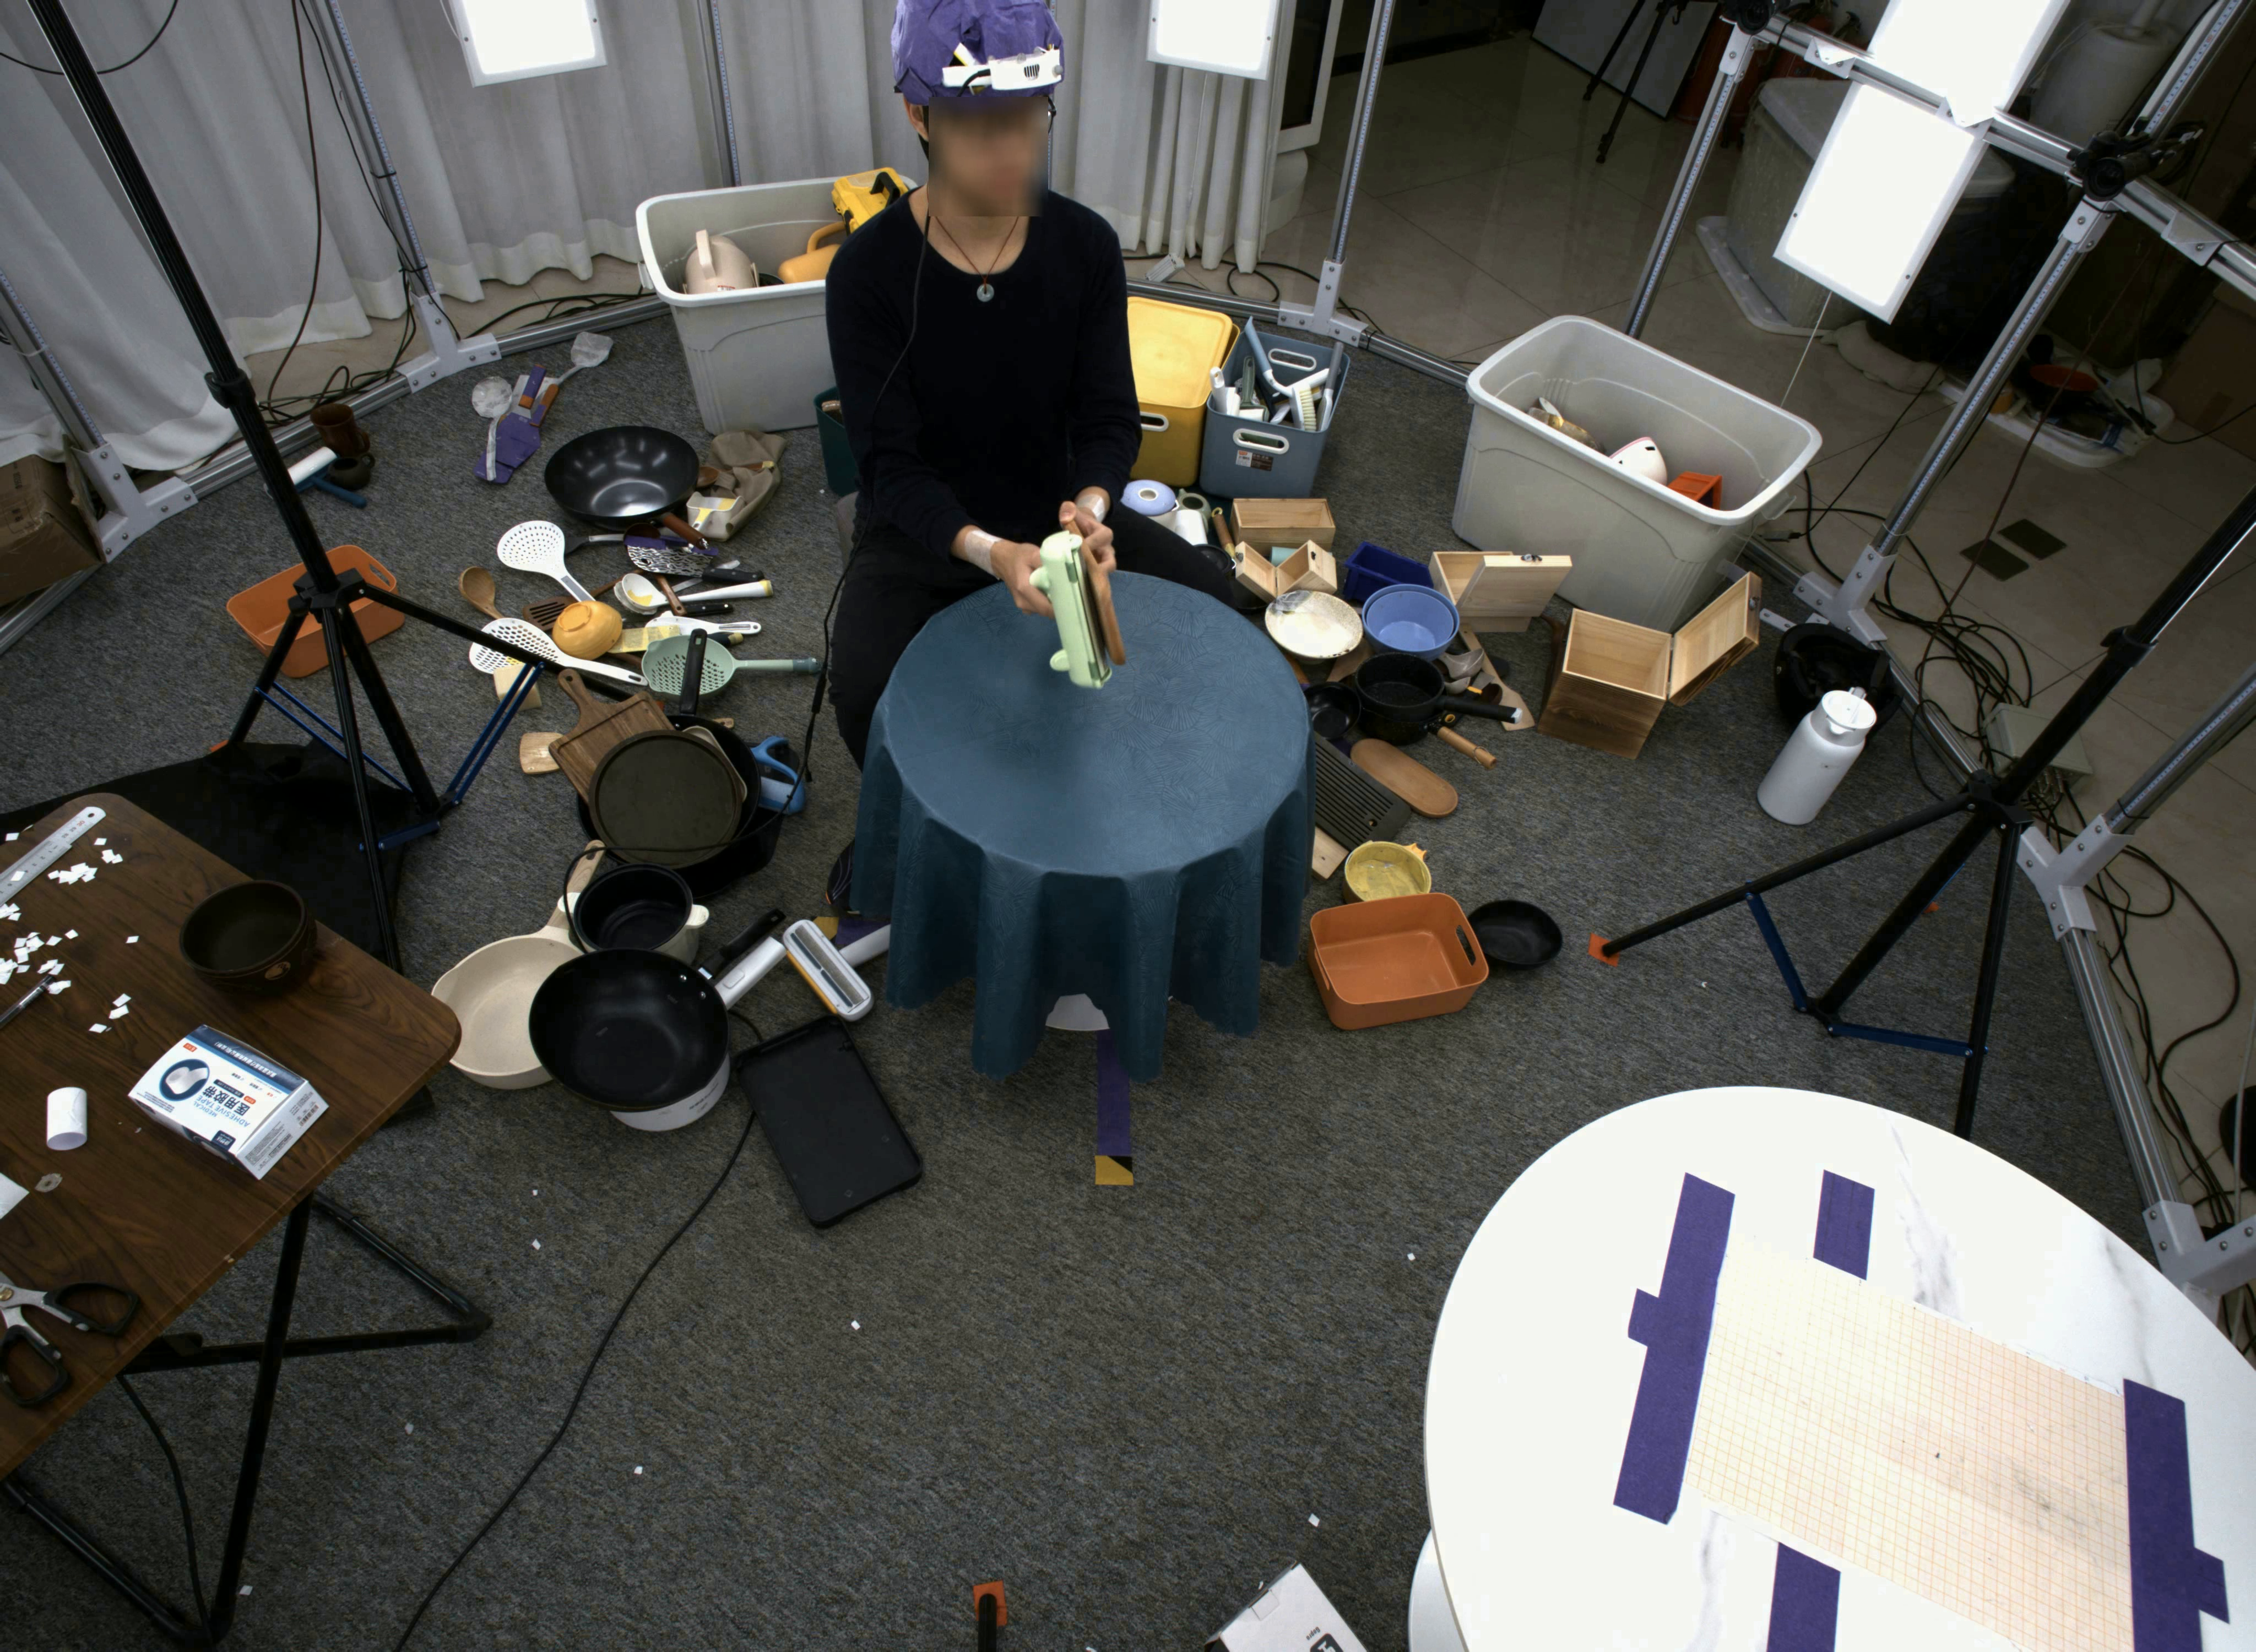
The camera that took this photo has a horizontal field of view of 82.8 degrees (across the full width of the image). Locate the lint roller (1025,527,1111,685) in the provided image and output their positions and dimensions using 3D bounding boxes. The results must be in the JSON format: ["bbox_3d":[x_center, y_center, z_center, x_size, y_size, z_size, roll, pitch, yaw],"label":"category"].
[{"bbox_3d":[-0.103,-0.288,1.639,0.082,0.194,0.186,-30,36,-23],"label":"lint roller"}]

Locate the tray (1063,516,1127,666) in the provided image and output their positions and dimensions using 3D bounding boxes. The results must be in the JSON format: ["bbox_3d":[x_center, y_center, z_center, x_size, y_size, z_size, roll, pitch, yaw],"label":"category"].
[{"bbox_3d":[-0.044,-0.304,1.649,0.023,0.127,0.256,-15,33,-5],"label":"tray"}]
